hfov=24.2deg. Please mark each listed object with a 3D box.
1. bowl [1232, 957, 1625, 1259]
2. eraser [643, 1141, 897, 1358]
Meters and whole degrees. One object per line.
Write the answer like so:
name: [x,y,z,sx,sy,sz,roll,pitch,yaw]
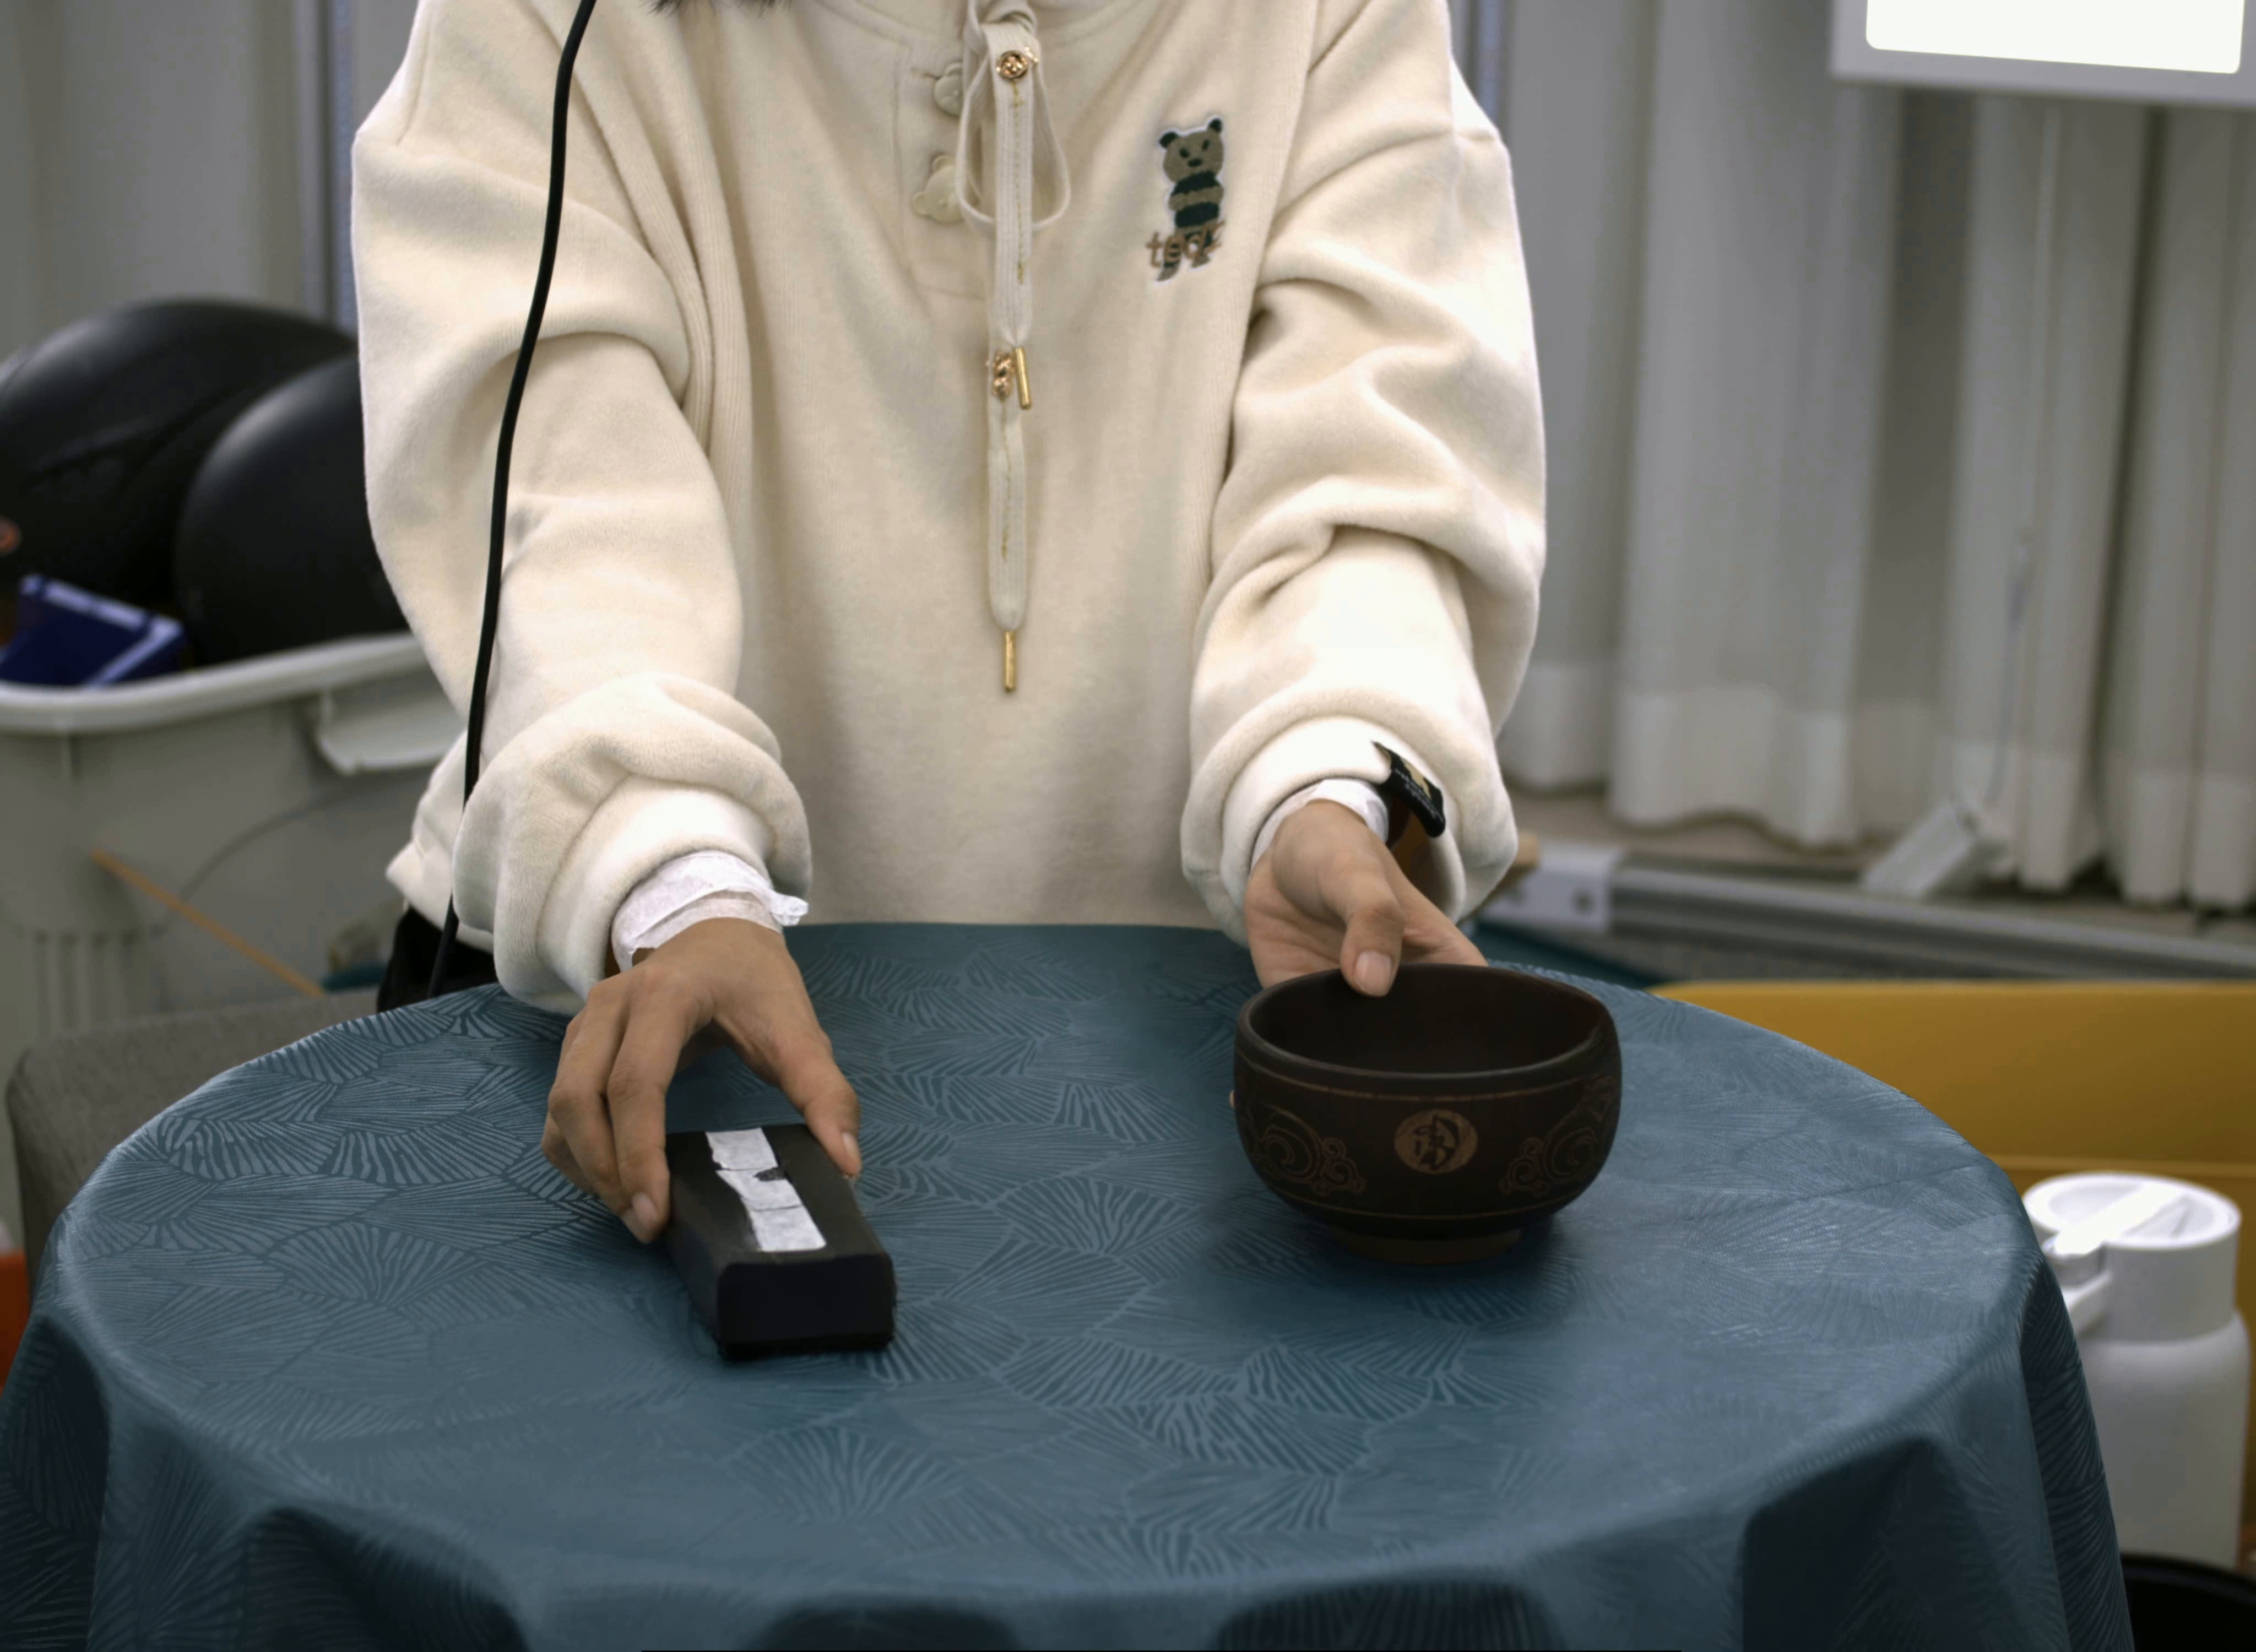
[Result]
bowl: [0.090,0.088,1.576,0.117,0.070,0.117,0,15,1]
eraser: [-0.105,0.122,1.533,0.053,0.030,0.124,-3,13,-14]
